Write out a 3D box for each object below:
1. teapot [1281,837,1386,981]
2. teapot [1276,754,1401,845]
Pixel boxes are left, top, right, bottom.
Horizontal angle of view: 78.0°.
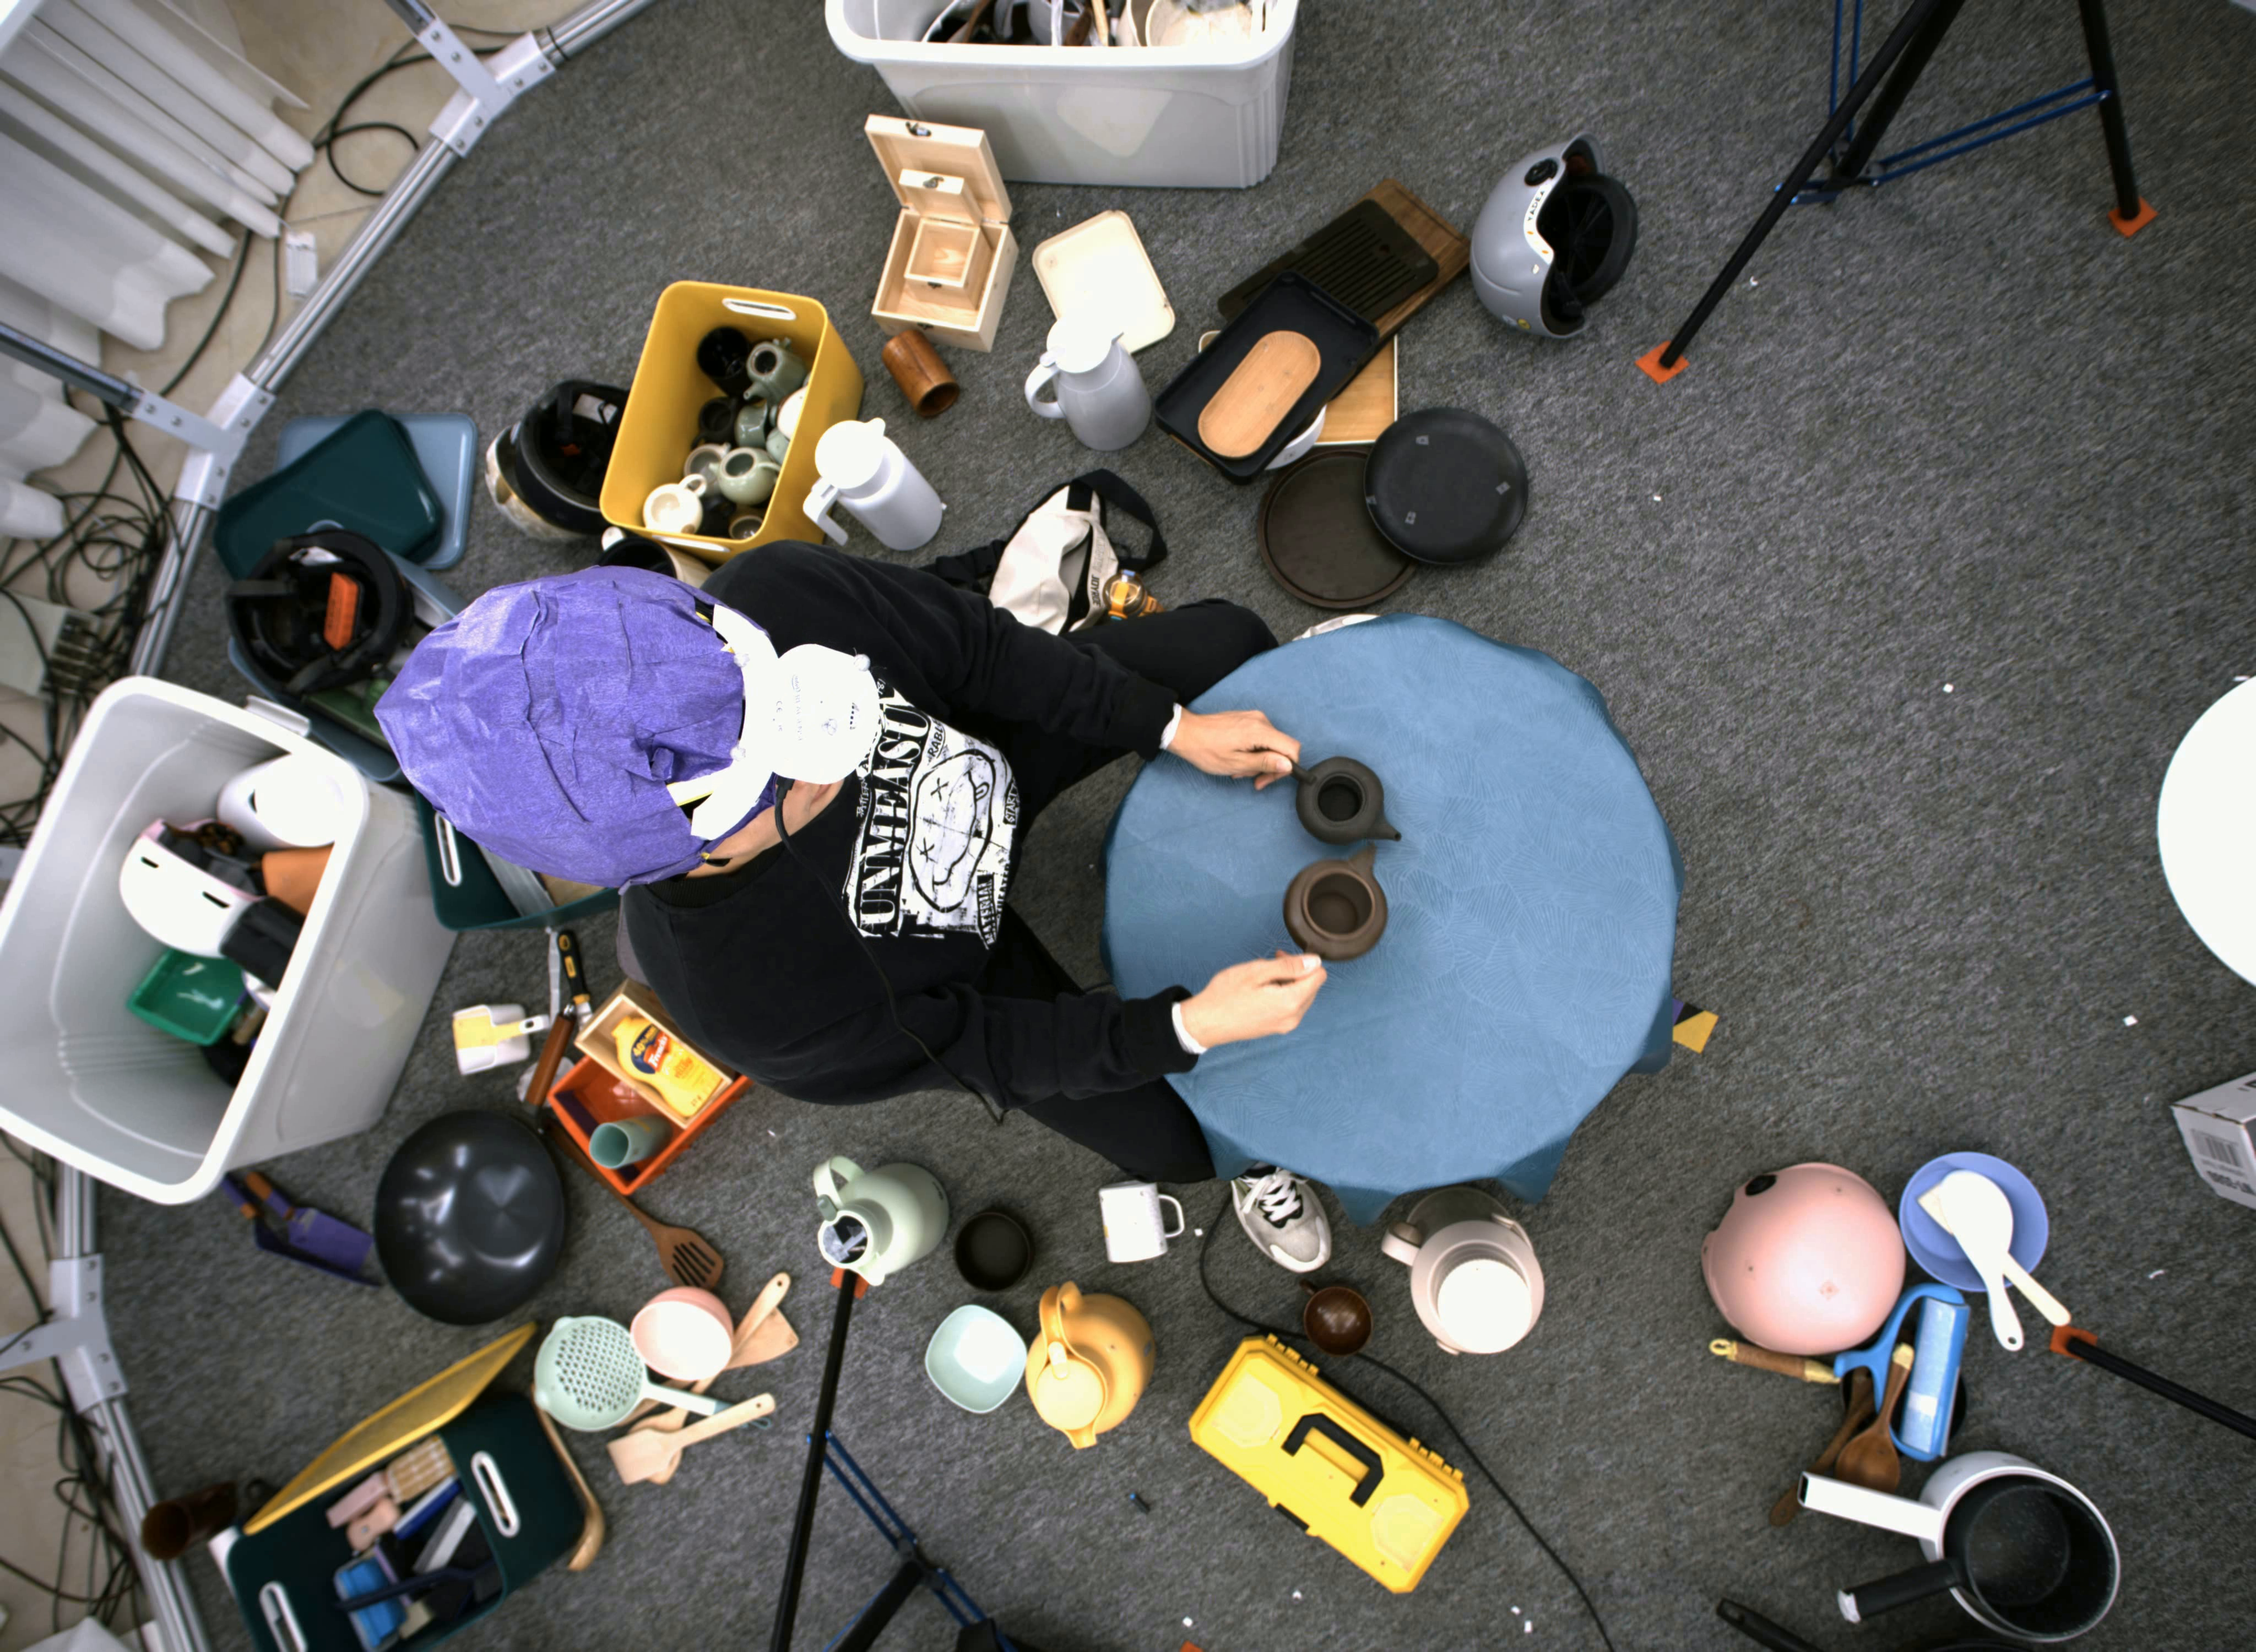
[{"bbox_3d":[0.198,0.081,1.342,0.102,0.054,0.151,23,73,9],"label":"teapot"},{"bbox_3d":[0.219,-0.028,1.442,0.154,0.064,0.092,35,89,8],"label":"teapot"}]
